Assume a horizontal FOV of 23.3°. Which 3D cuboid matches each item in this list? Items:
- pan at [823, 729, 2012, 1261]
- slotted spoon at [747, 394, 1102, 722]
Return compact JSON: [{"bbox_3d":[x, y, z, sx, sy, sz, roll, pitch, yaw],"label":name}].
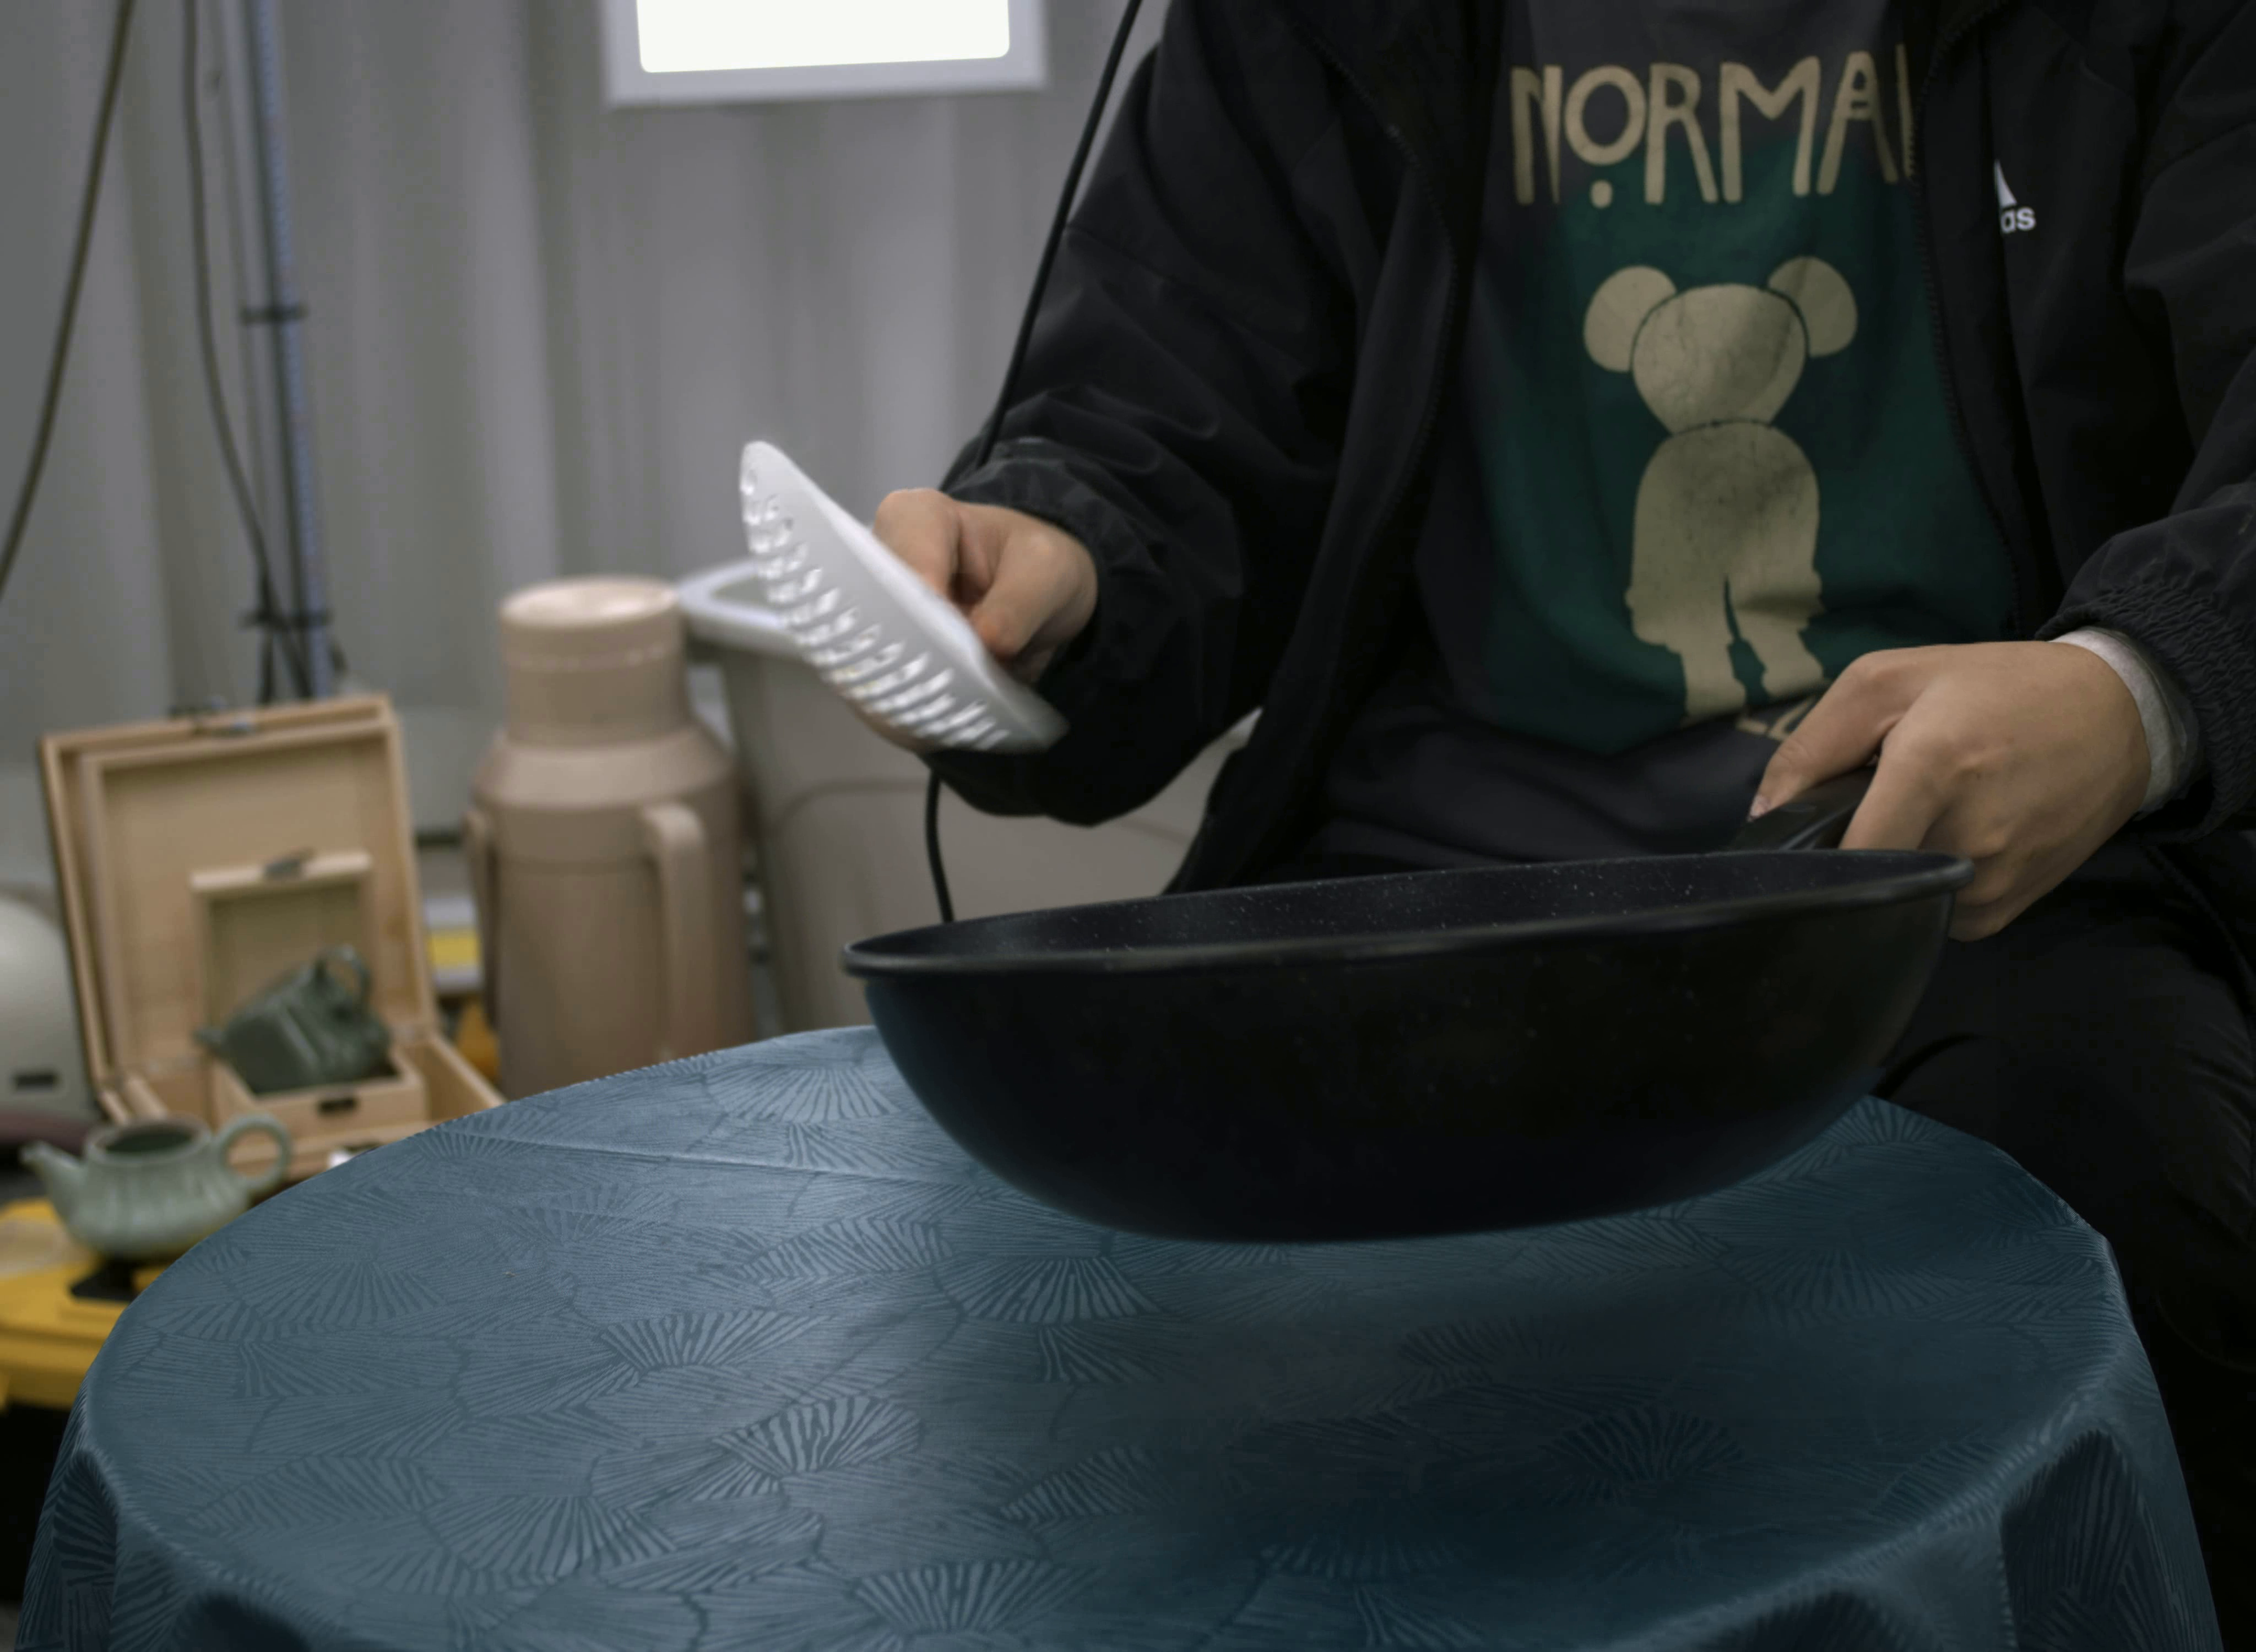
[{"bbox_3d":[0.125,0.045,1.542,0.311,0.112,0.475,-1,4,38],"label":"pan"},{"bbox_3d":[-0.063,-0.063,1.724,0.137,0.050,0.347,41,2,5],"label":"slotted spoon"}]
